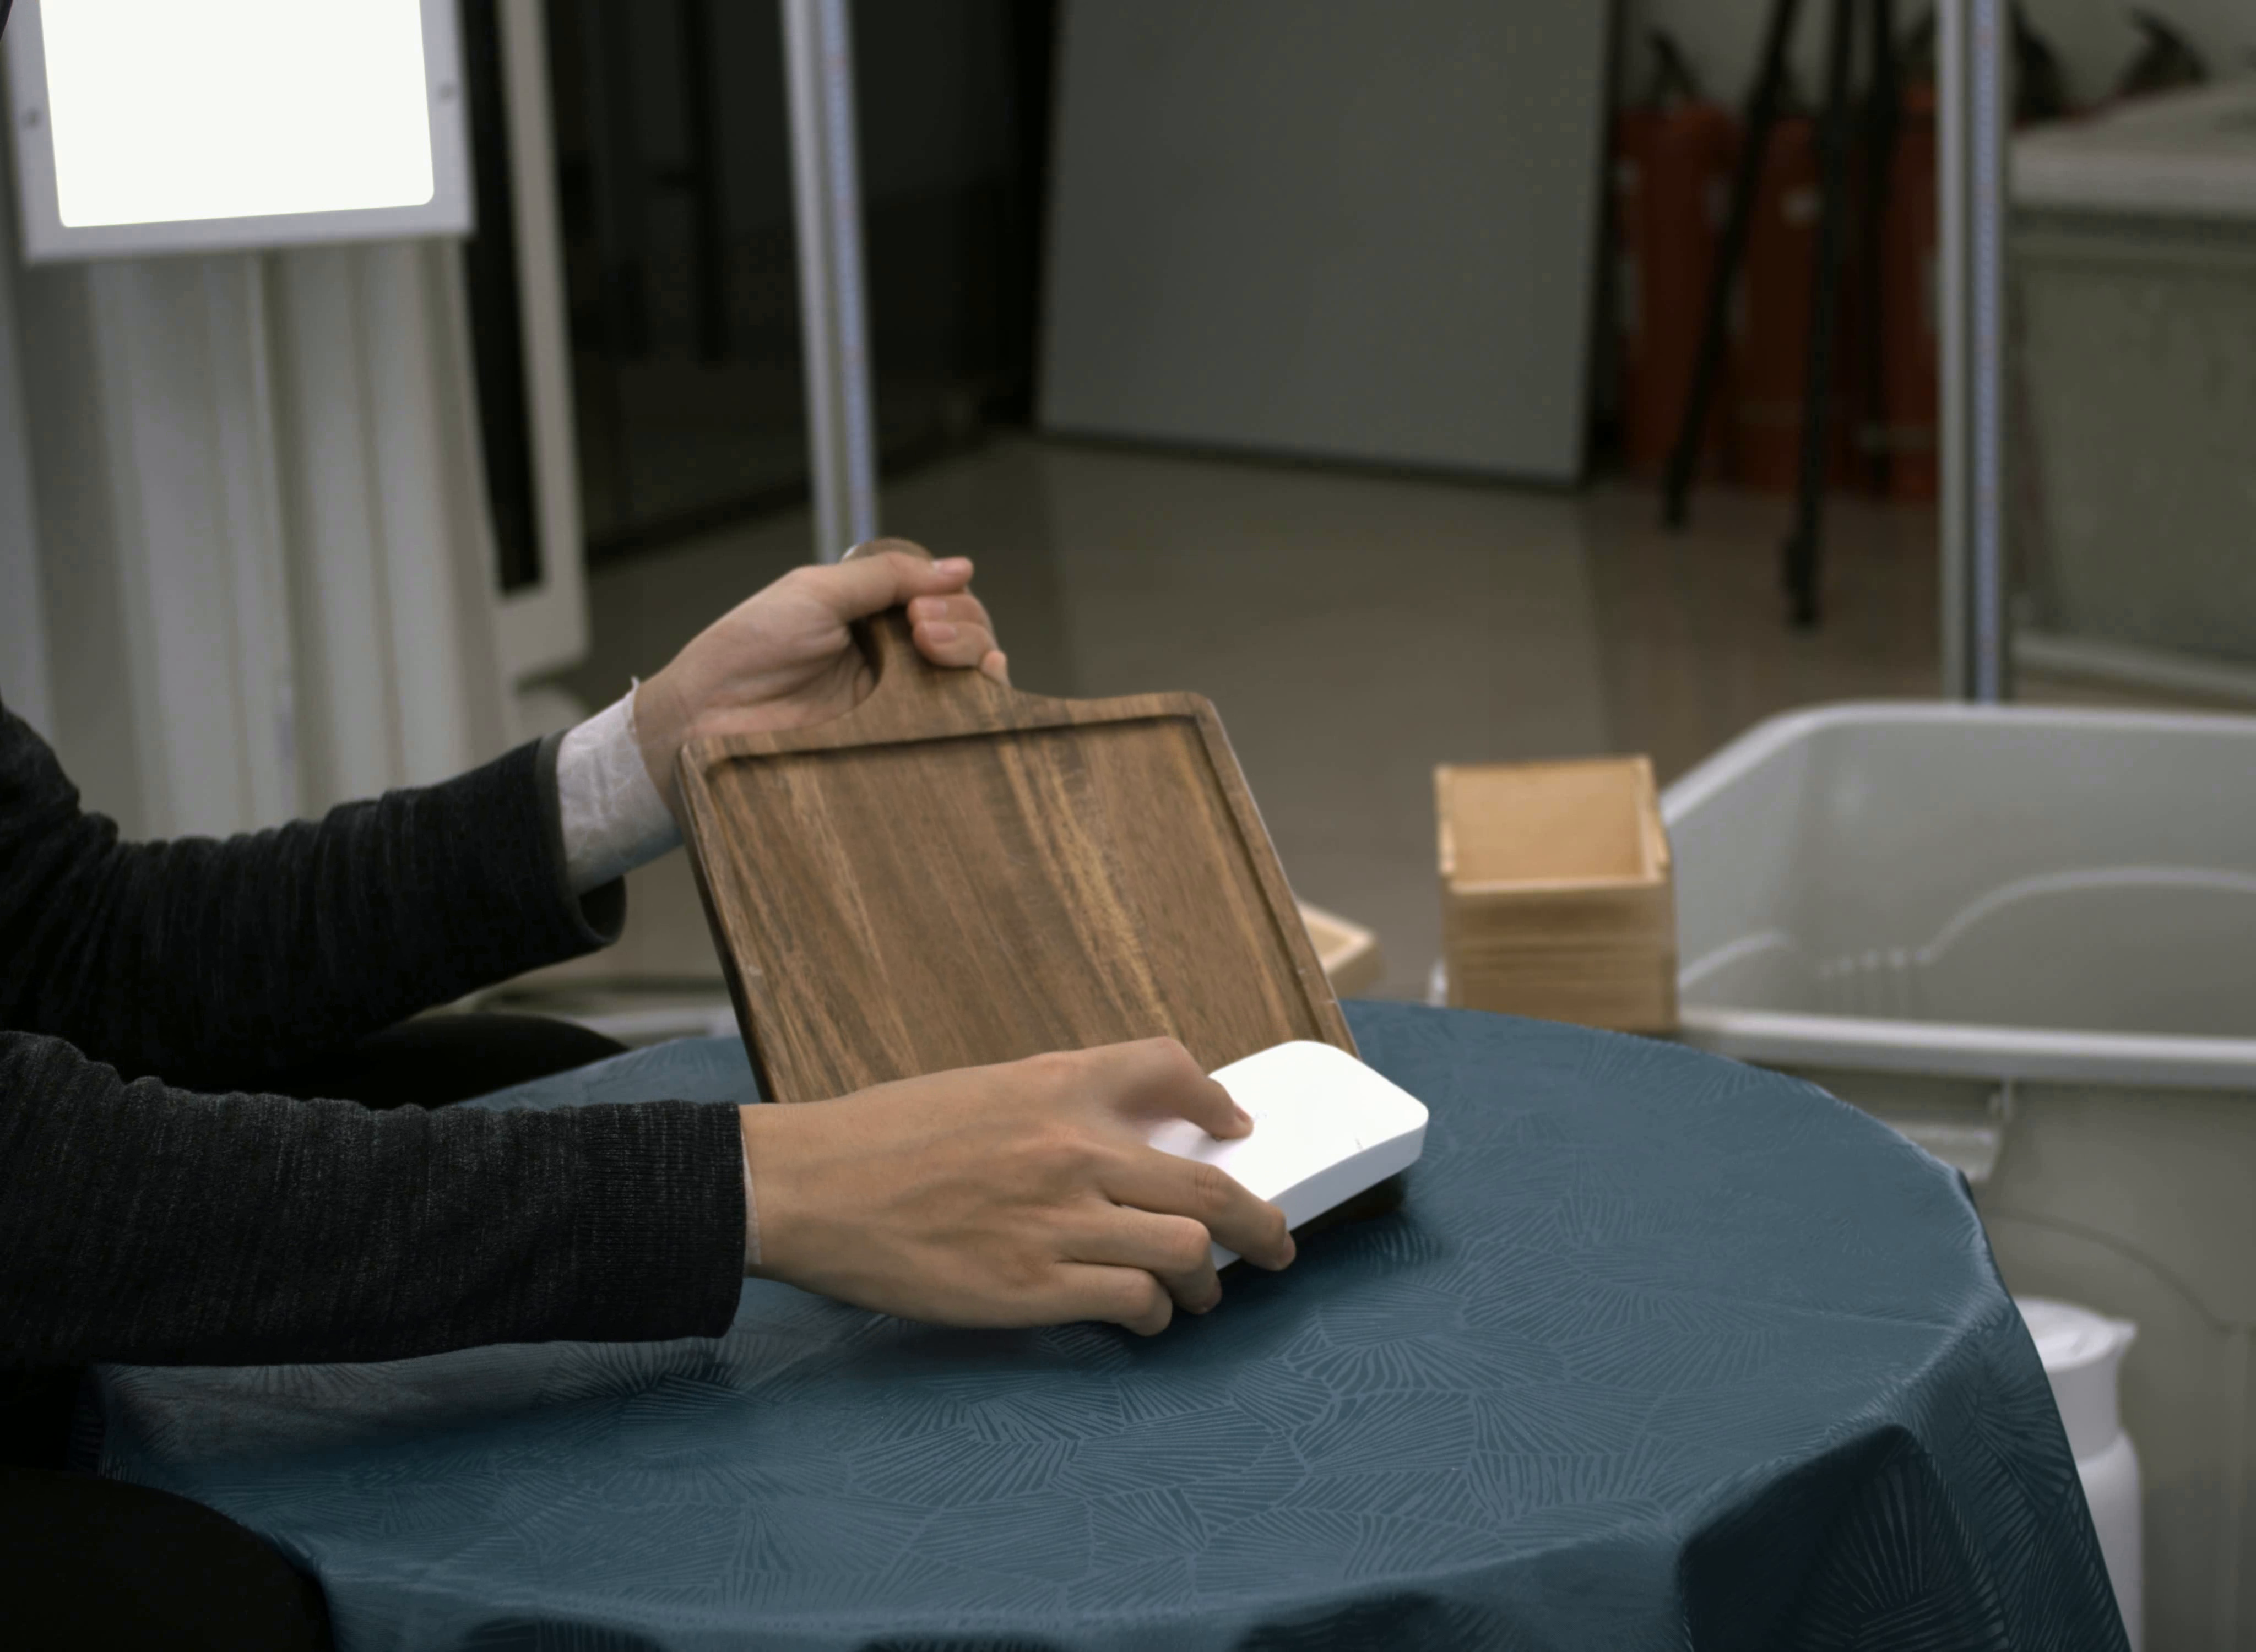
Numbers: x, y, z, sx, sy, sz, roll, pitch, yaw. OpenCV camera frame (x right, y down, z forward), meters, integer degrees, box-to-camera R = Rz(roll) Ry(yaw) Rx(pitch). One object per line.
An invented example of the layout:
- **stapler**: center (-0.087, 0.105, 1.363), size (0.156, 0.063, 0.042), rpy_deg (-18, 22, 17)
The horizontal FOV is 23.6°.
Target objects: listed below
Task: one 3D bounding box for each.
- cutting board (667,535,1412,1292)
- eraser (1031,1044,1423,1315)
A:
- **cutting board**: center (-0.046, 0.016, 1.830), size (0.197, 0.023, 0.356), rpy_deg (-7, 42, -13)
- **eraser**: center (0.031, 0.107, 1.690), size (0.129, 0.035, 0.064), rpy_deg (-23, 40, -34)
